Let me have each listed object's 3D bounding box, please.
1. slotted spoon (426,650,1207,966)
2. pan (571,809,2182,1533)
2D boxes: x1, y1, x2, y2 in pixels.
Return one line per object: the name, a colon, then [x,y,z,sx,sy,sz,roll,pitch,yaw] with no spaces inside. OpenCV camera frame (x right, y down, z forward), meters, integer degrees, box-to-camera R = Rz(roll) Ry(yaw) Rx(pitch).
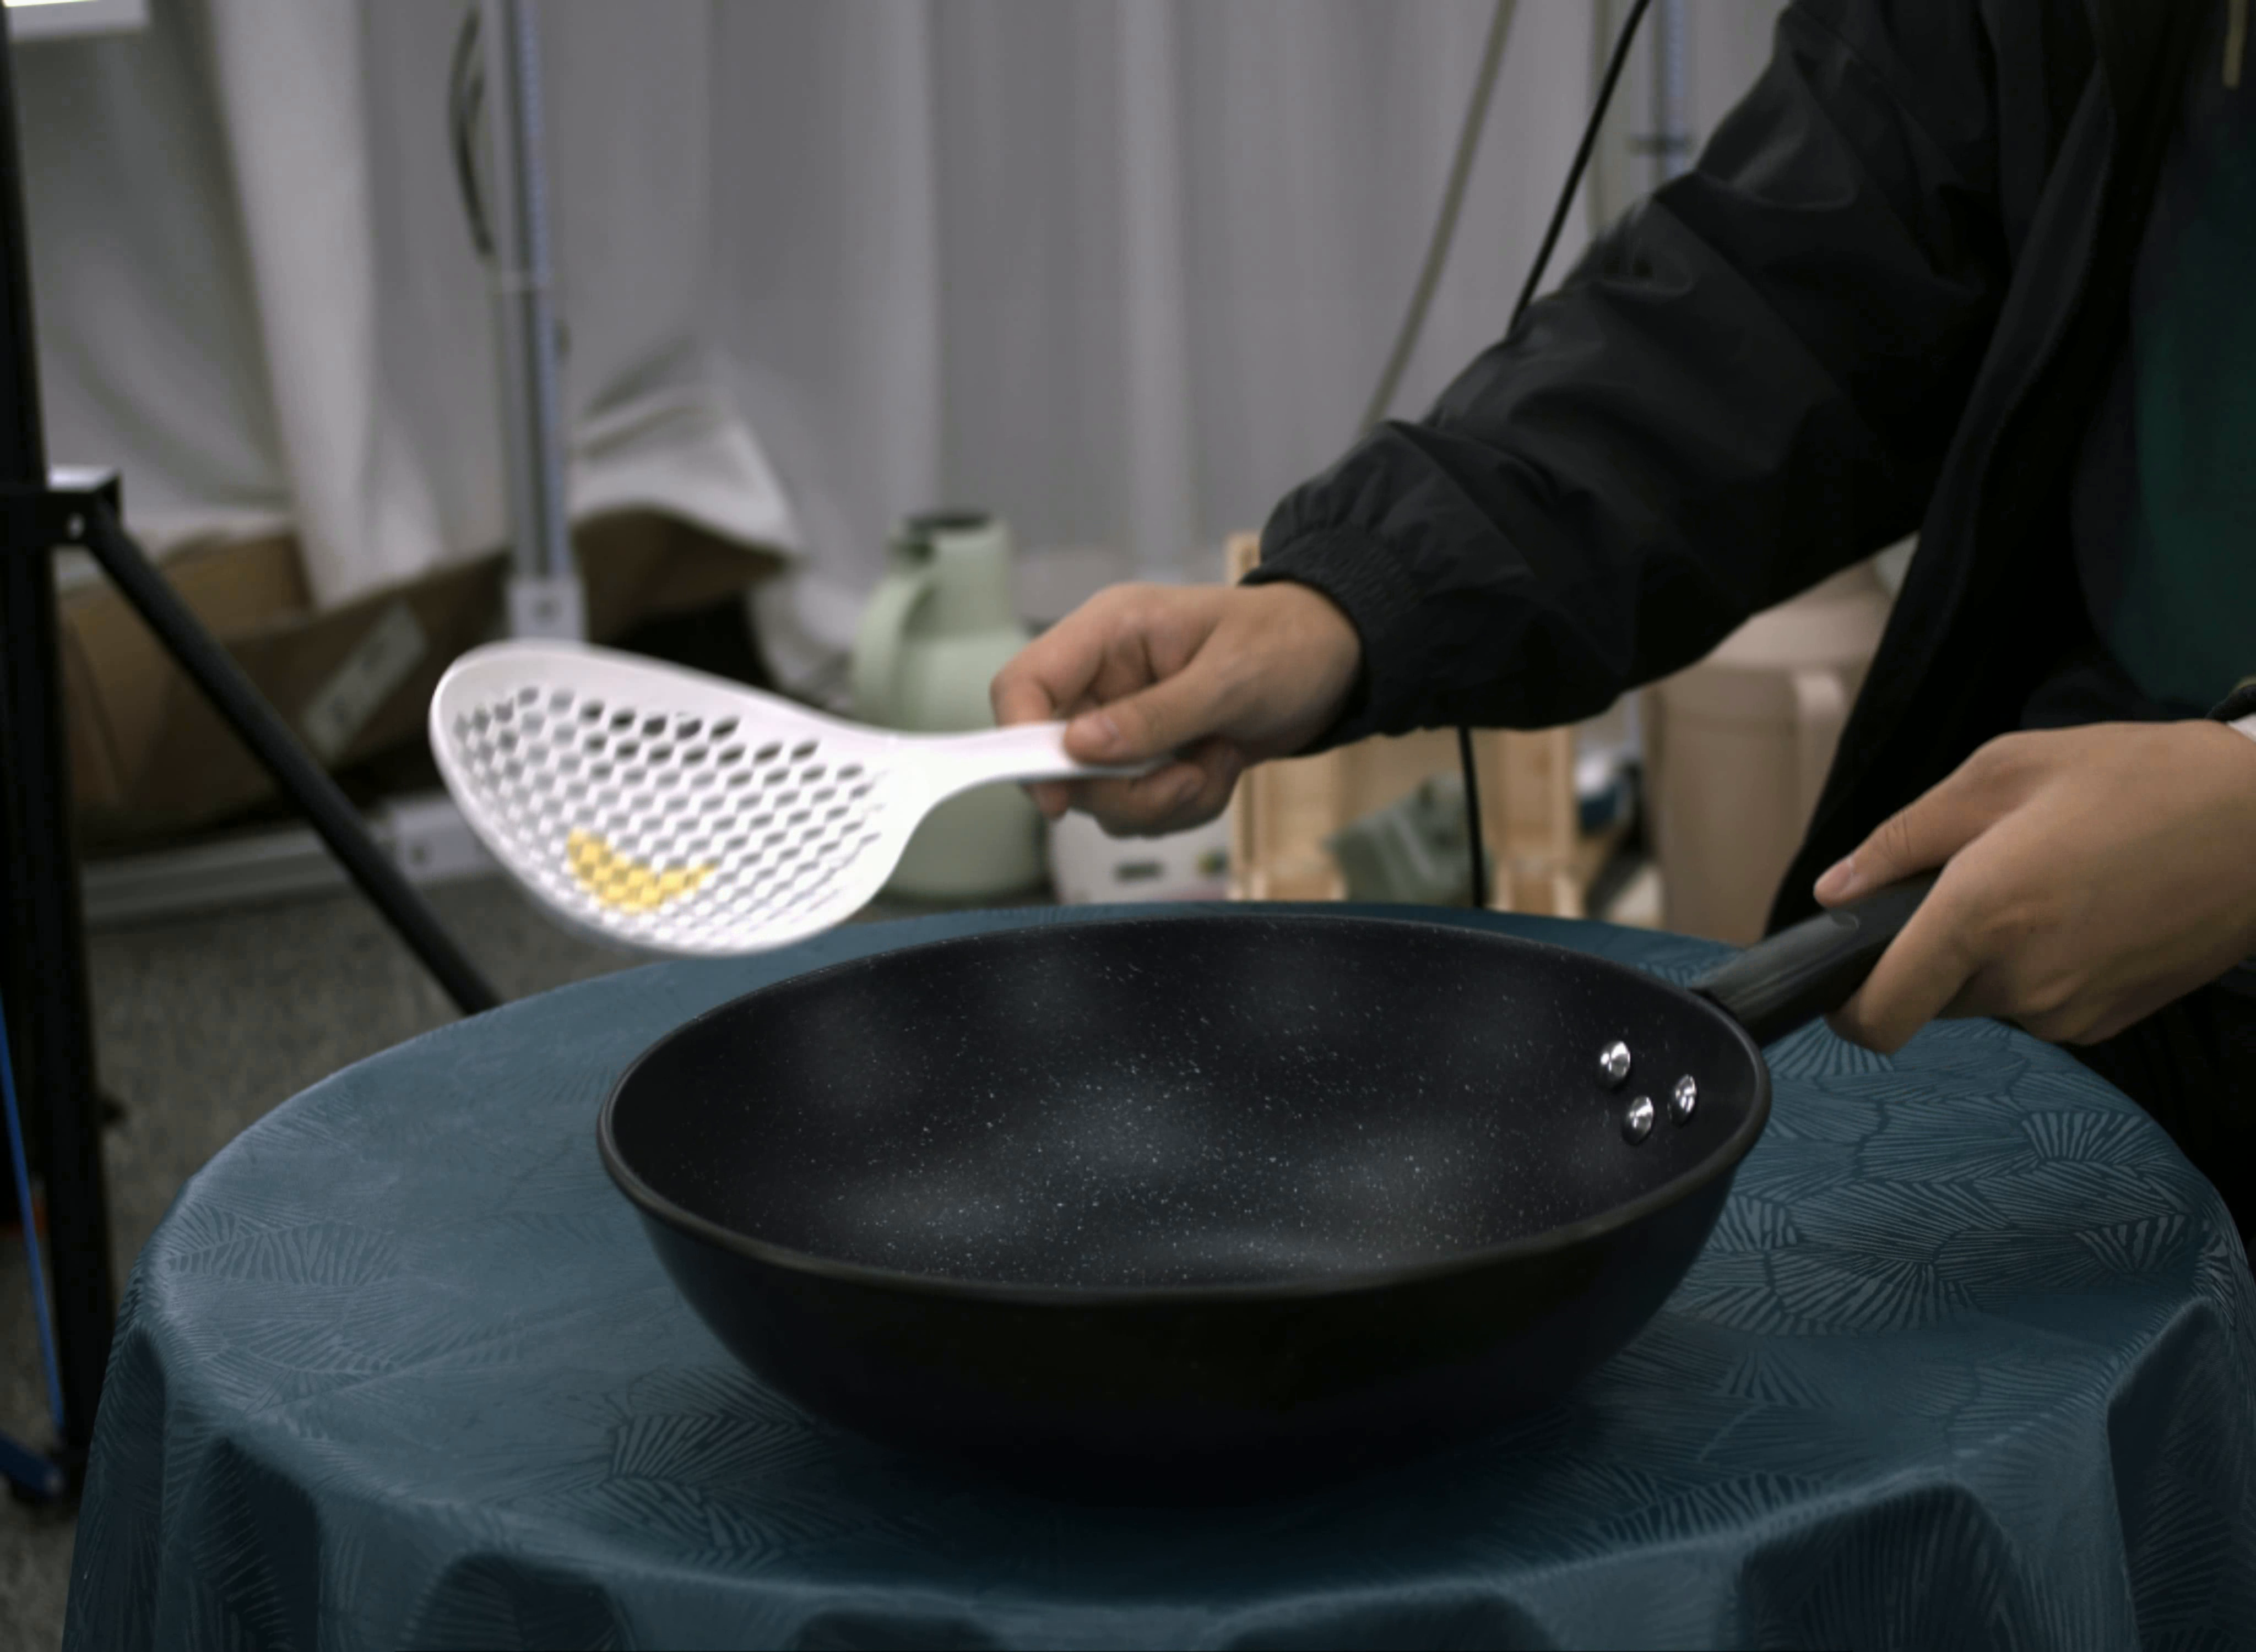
slotted spoon: [-0.080,-0.007,1.692,0.339,0.050,0.139,-10,48,-44]
pan: [0.085,0.087,1.424,0.467,0.111,0.316,-10,19,-23]
